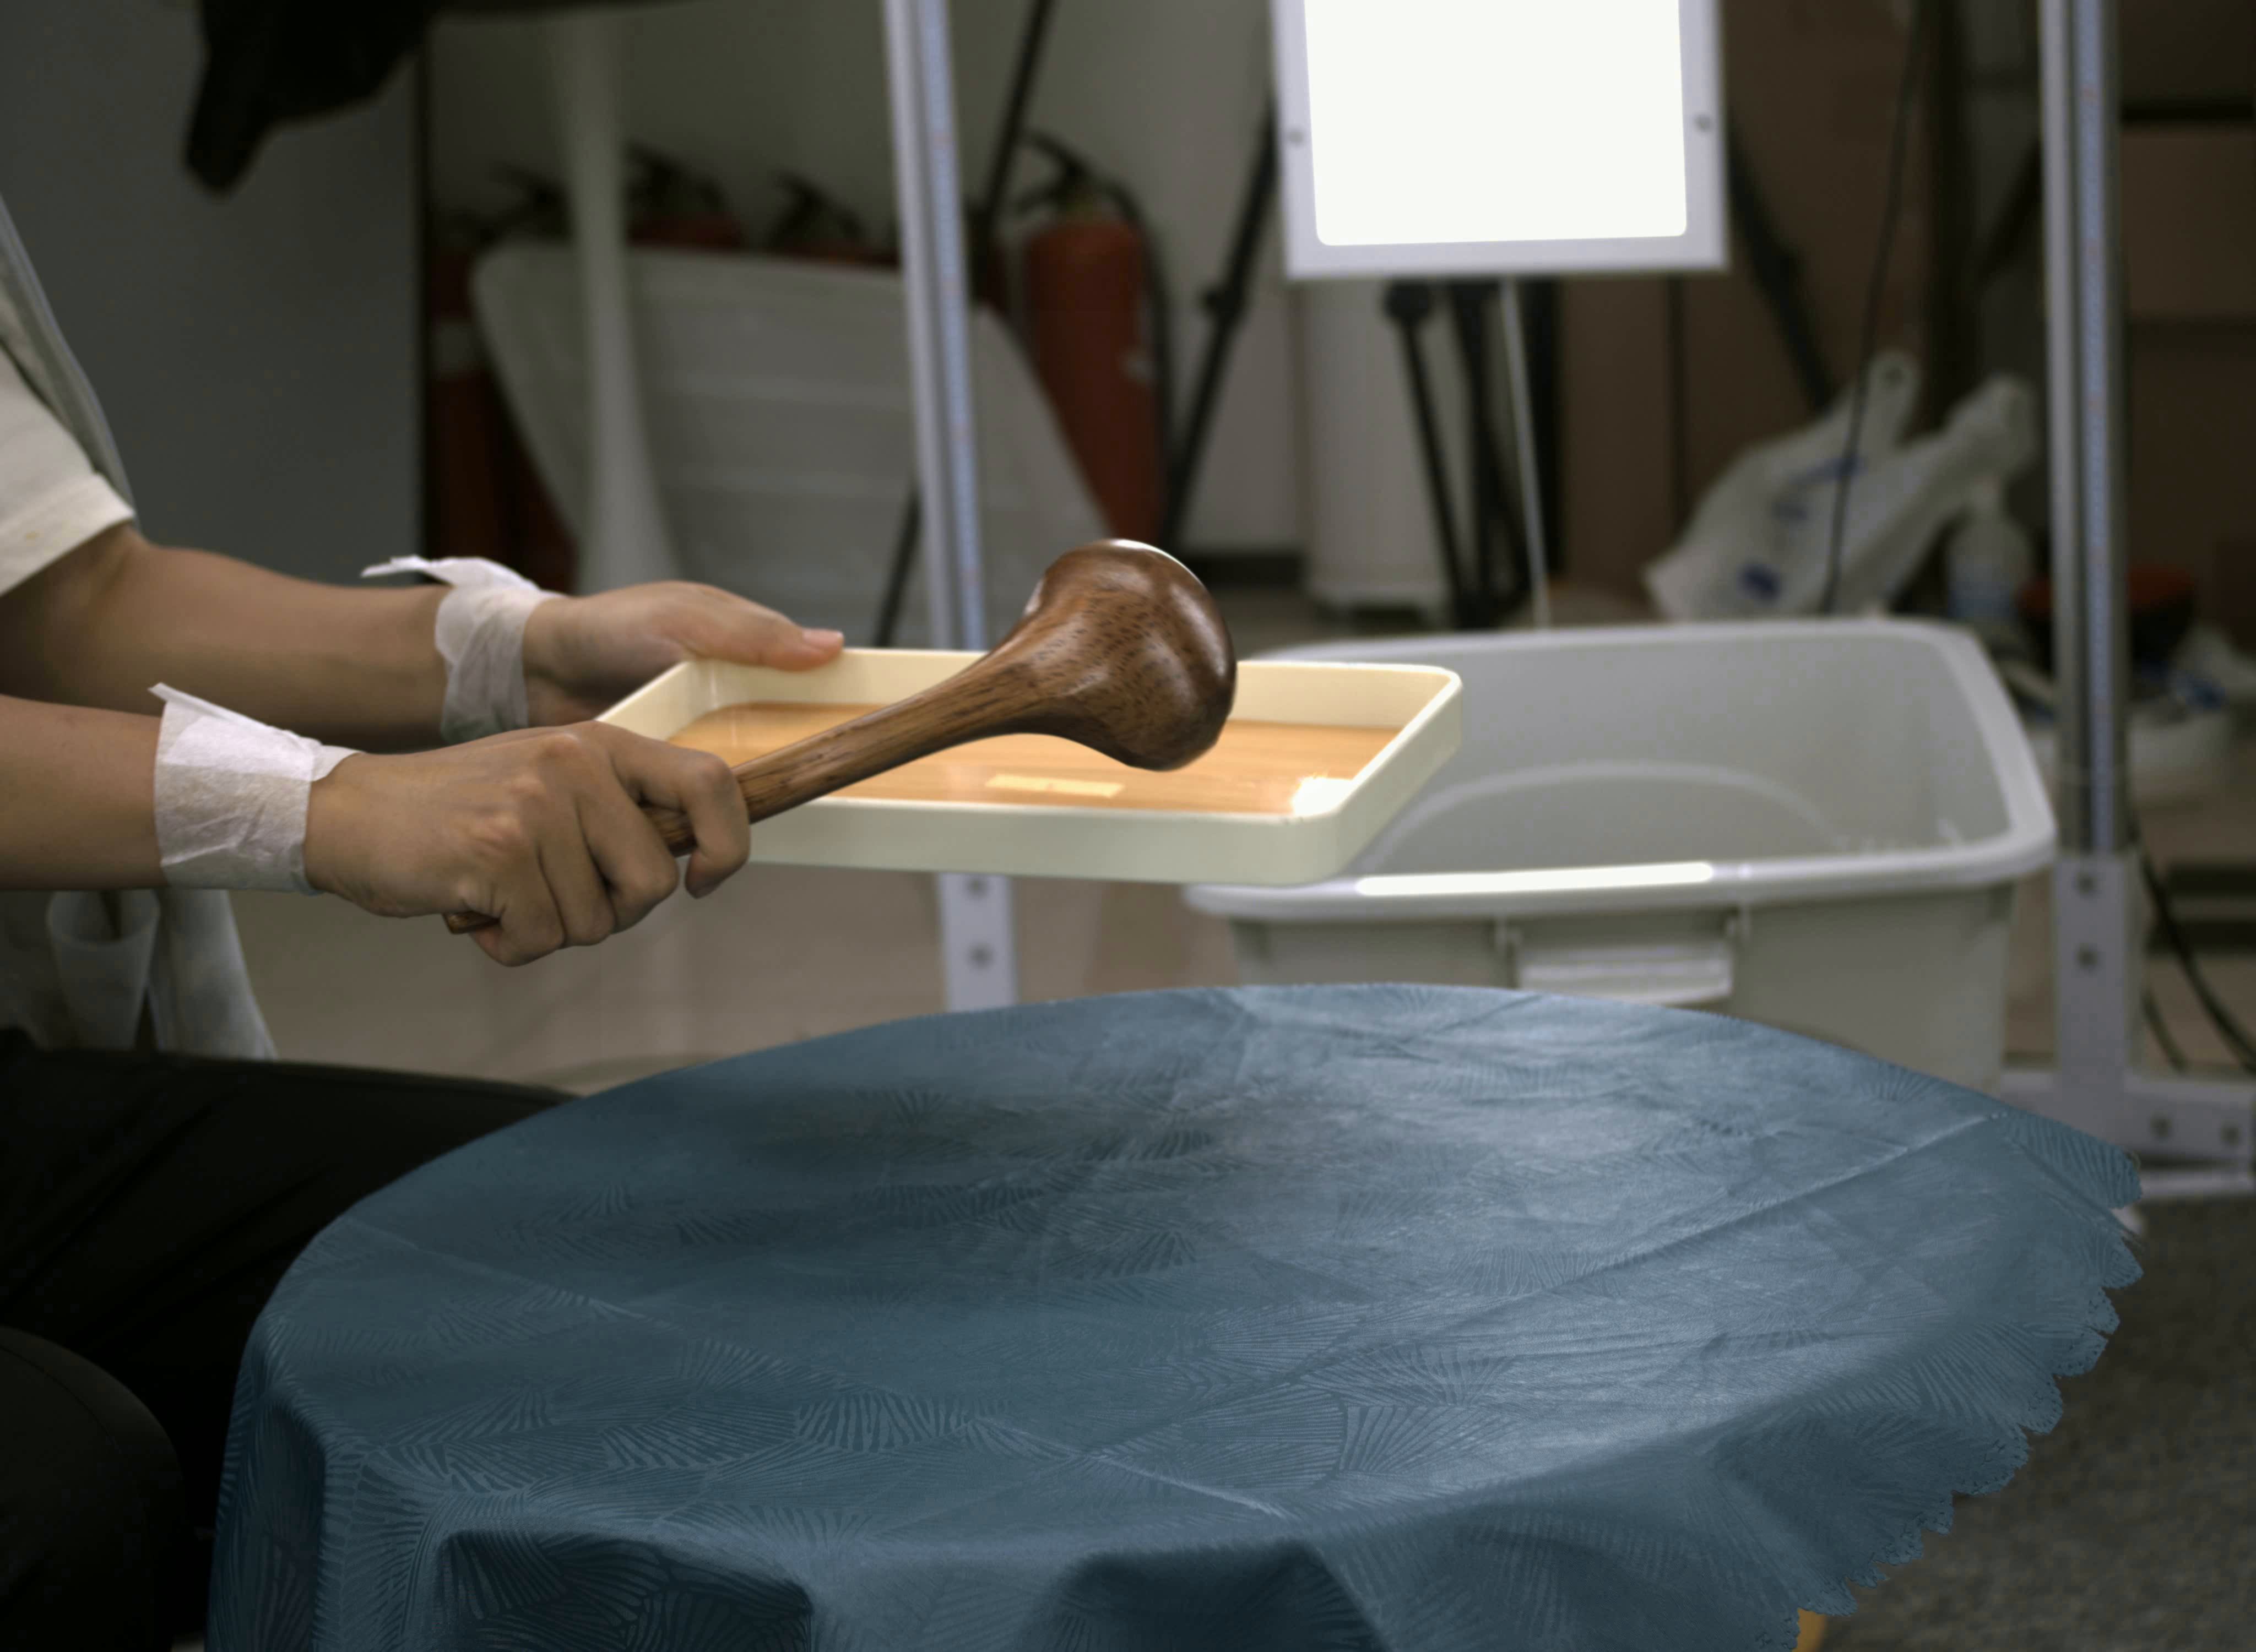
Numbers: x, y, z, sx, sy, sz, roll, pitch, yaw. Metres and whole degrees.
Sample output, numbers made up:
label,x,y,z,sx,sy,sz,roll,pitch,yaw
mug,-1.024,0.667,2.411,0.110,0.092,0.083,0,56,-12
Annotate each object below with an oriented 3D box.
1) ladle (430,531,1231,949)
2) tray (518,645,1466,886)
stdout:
label,x,y,z,sx,sy,sz,roll,pitch,yaw
ladle,-0.096,-0.019,1.807,0.274,0.082,0.076,-23,-14,1
tray,-0.045,-0.023,1.939,0.304,0.027,0.188,2,18,21
